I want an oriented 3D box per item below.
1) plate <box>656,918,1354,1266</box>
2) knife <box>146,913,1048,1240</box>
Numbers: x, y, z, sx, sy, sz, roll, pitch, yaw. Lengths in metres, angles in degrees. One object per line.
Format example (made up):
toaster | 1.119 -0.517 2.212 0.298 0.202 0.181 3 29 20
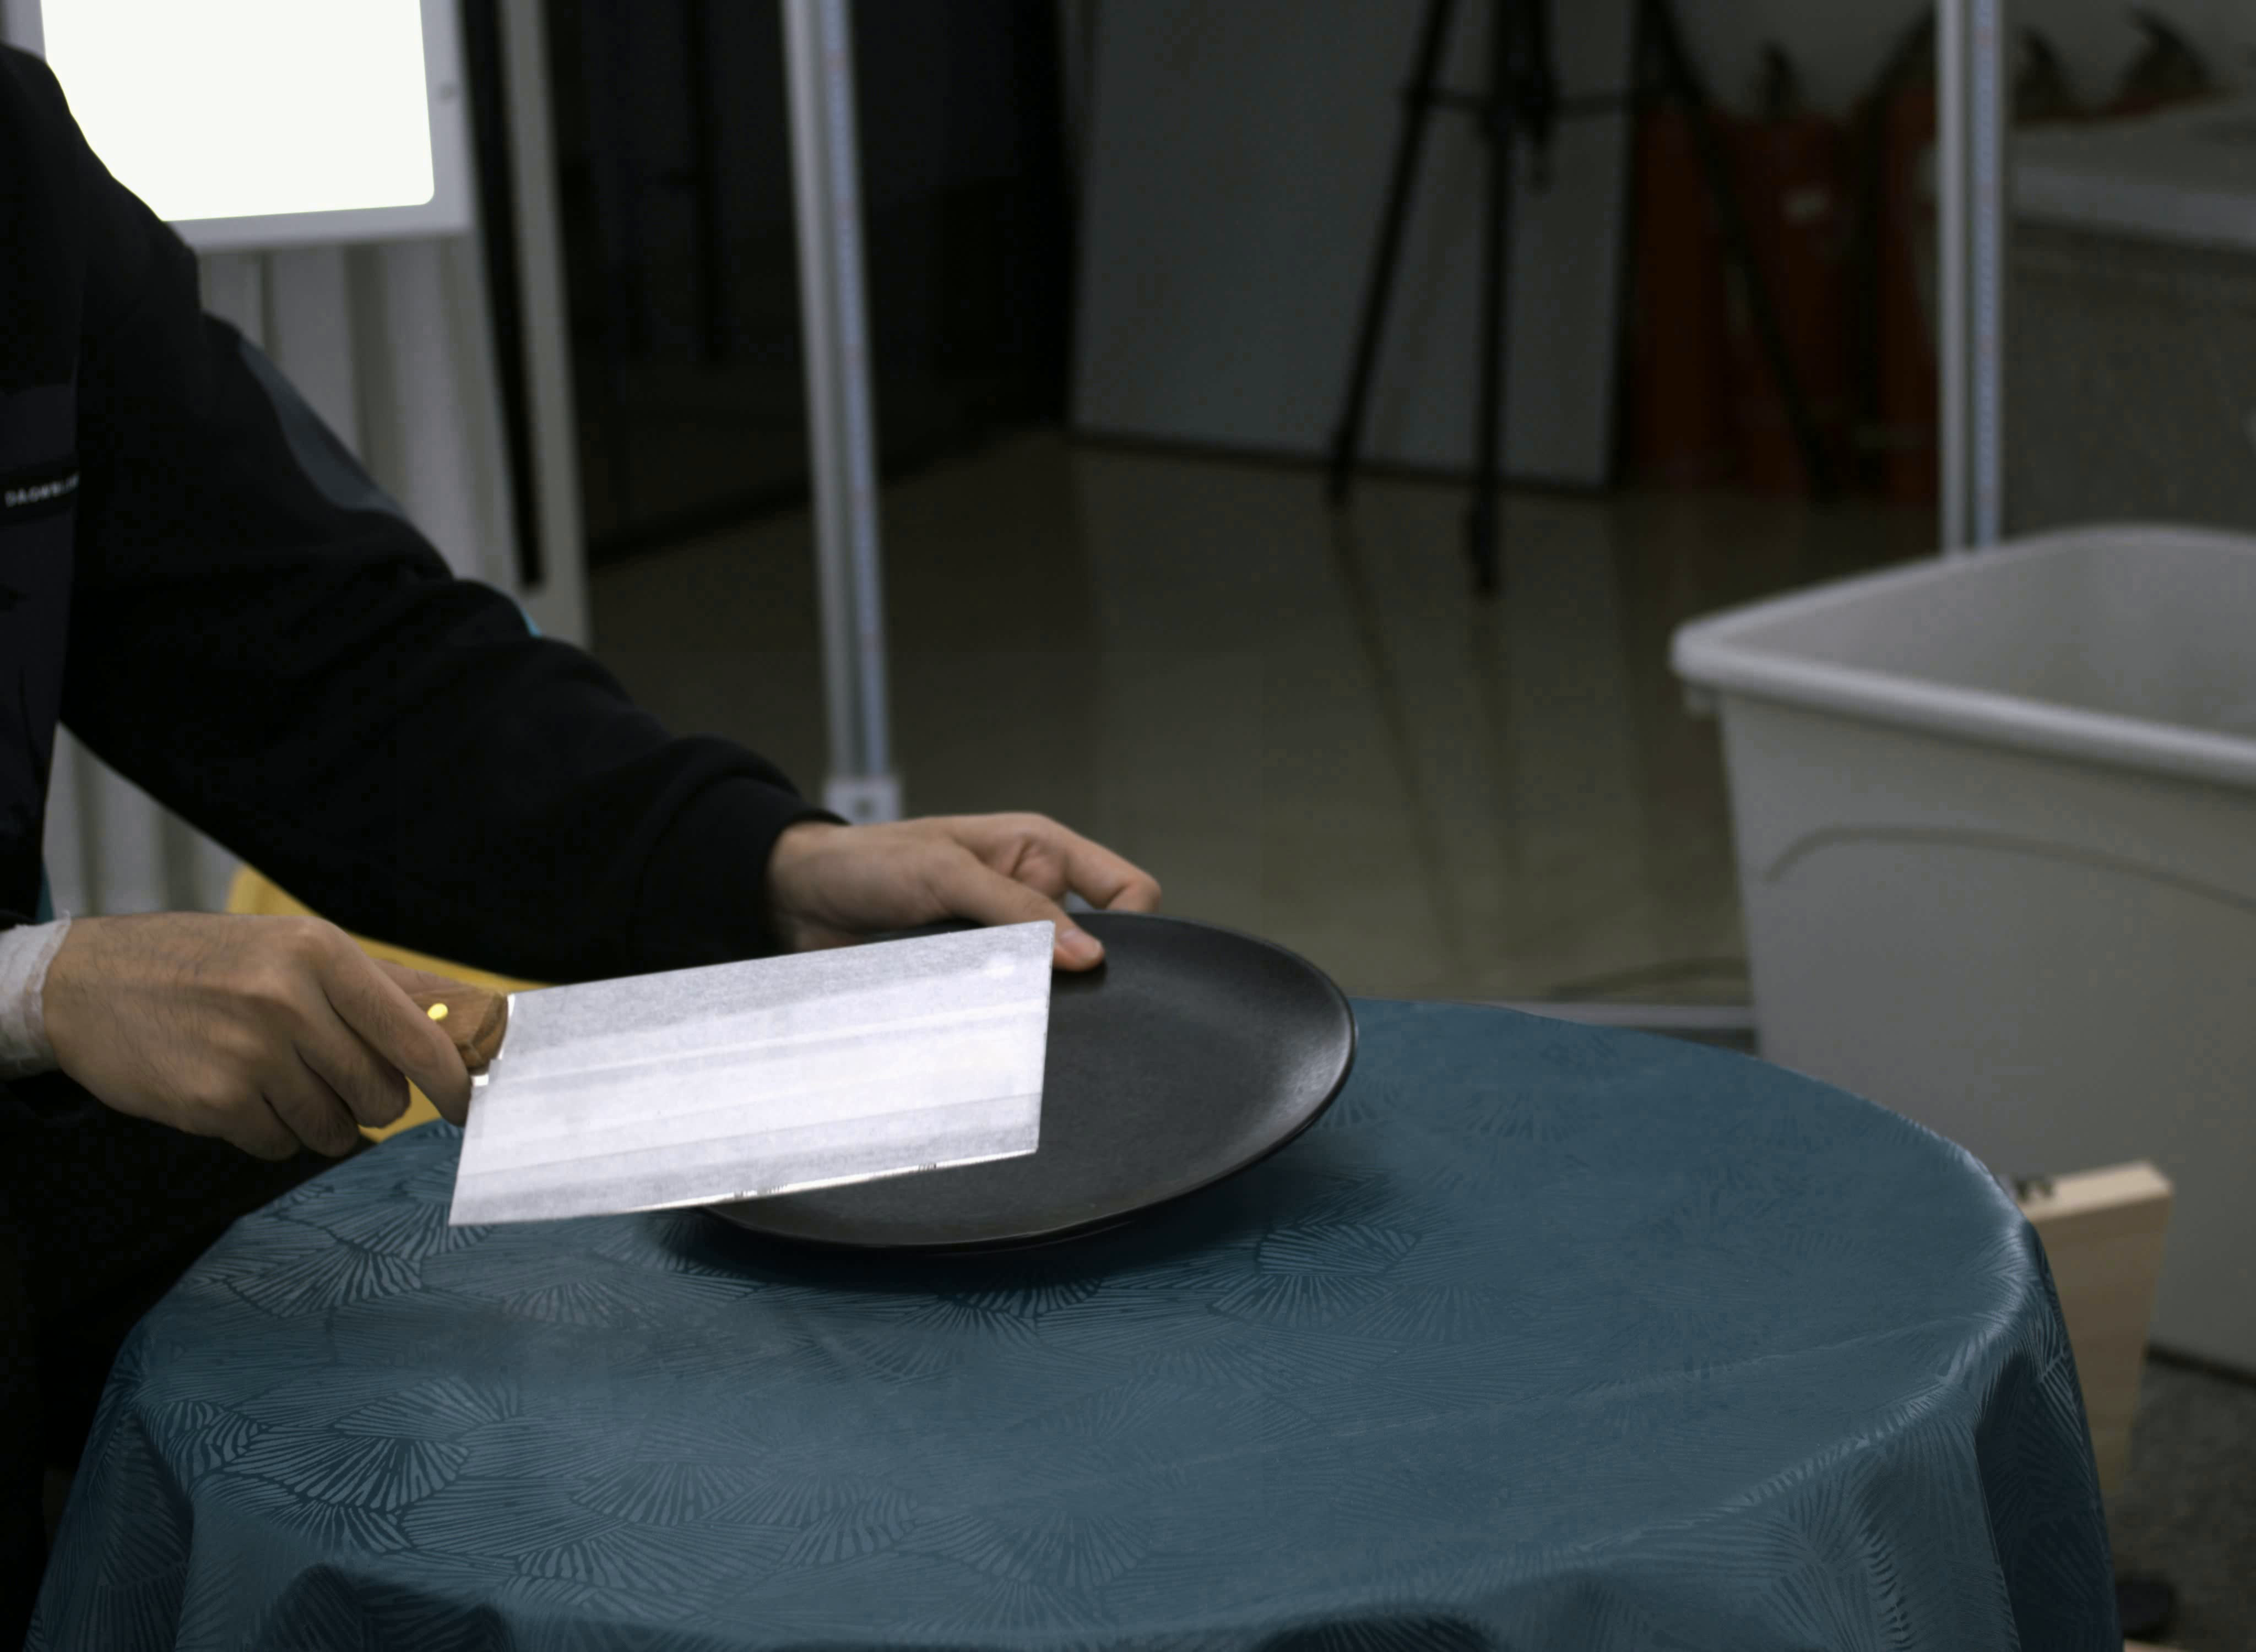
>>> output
plate | -0.043 0.091 1.790 0.241 0.023 0.245 -8 23 2
knife | -0.167 0.083 1.659 0.305 0.021 0.093 -9 50 17
